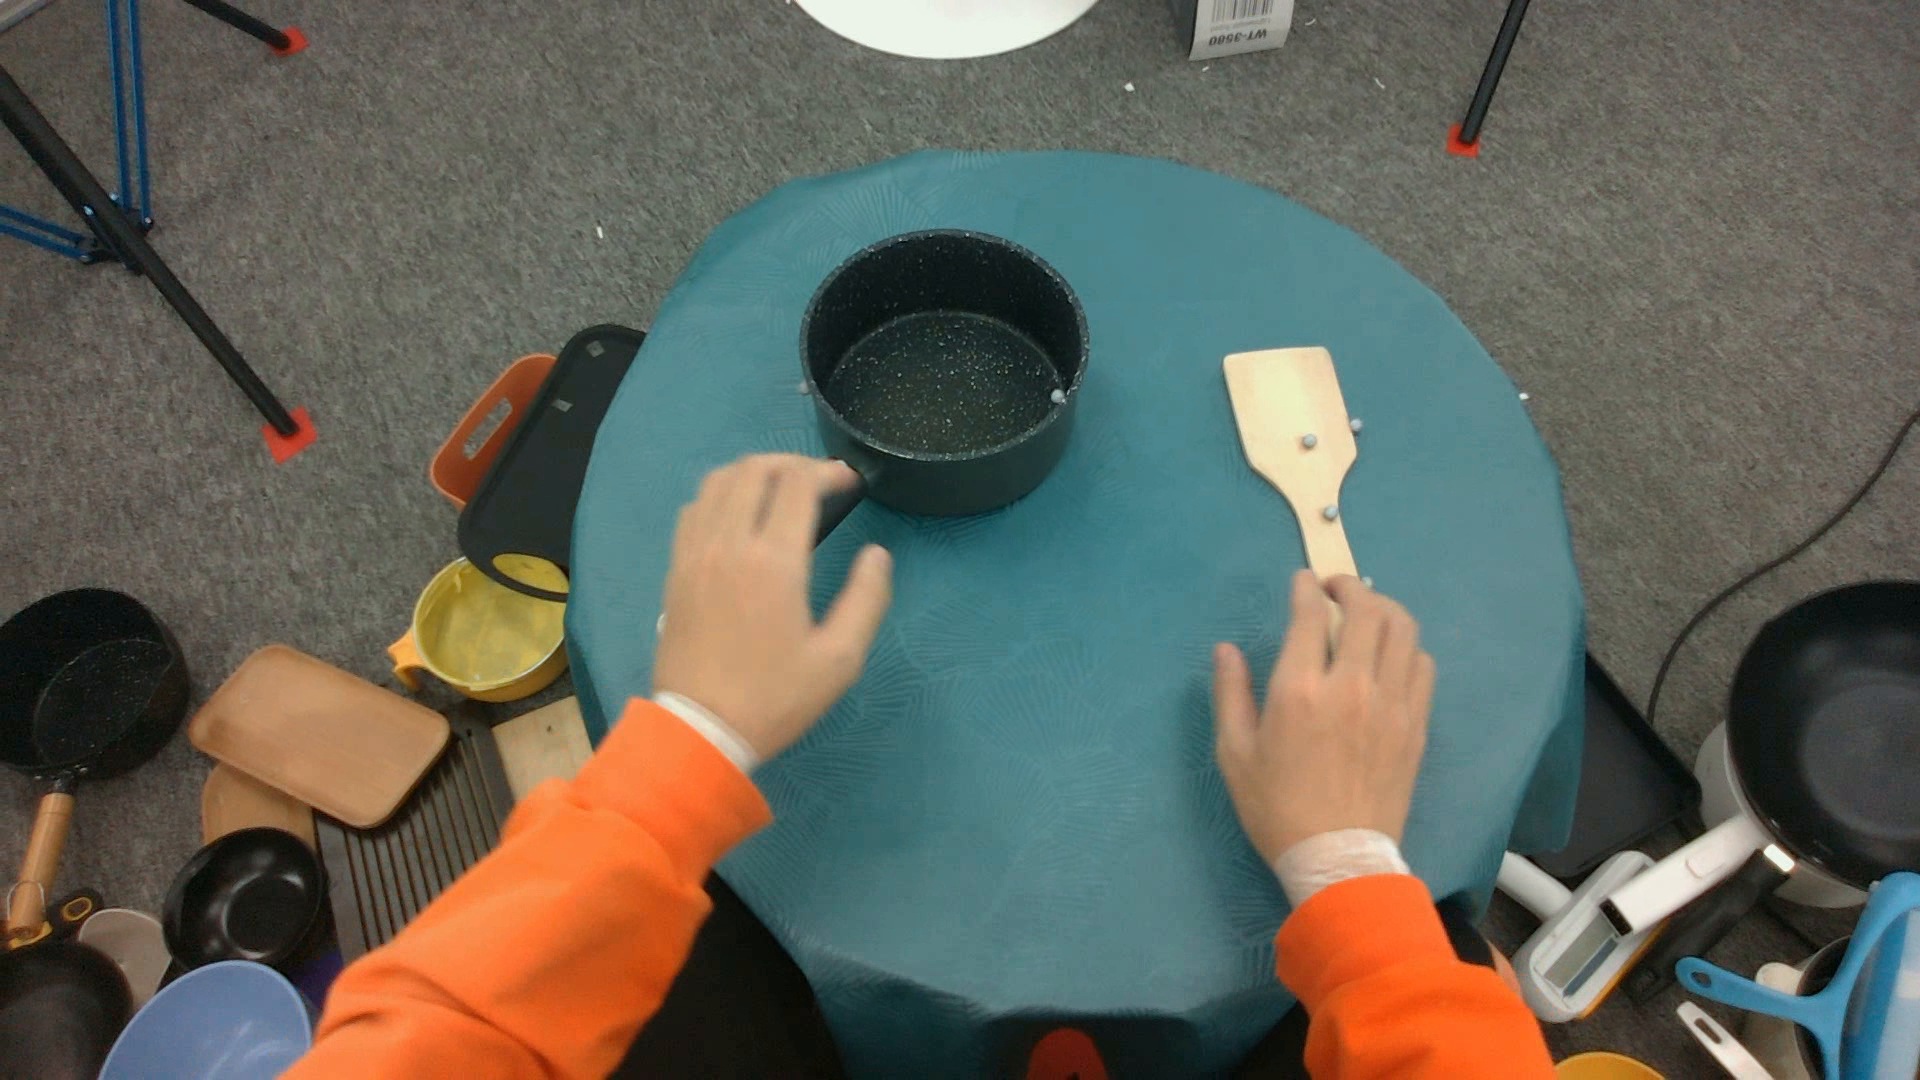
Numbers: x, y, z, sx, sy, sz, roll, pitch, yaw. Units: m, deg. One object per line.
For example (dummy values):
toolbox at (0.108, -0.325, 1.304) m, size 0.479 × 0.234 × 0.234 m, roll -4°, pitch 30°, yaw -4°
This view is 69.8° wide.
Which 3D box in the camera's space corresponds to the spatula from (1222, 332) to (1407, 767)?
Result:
spatula at (0.217, -0.005, 0.814) m, size 0.072 × 0.010 × 0.294 m, roll -3°, pitch 60°, yaw -6°

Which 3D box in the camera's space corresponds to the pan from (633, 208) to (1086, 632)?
pan at (-0.059, -0.057, 0.800) m, size 0.172 × 0.086 × 0.330 m, roll 32°, pitch 64°, yaw 17°
